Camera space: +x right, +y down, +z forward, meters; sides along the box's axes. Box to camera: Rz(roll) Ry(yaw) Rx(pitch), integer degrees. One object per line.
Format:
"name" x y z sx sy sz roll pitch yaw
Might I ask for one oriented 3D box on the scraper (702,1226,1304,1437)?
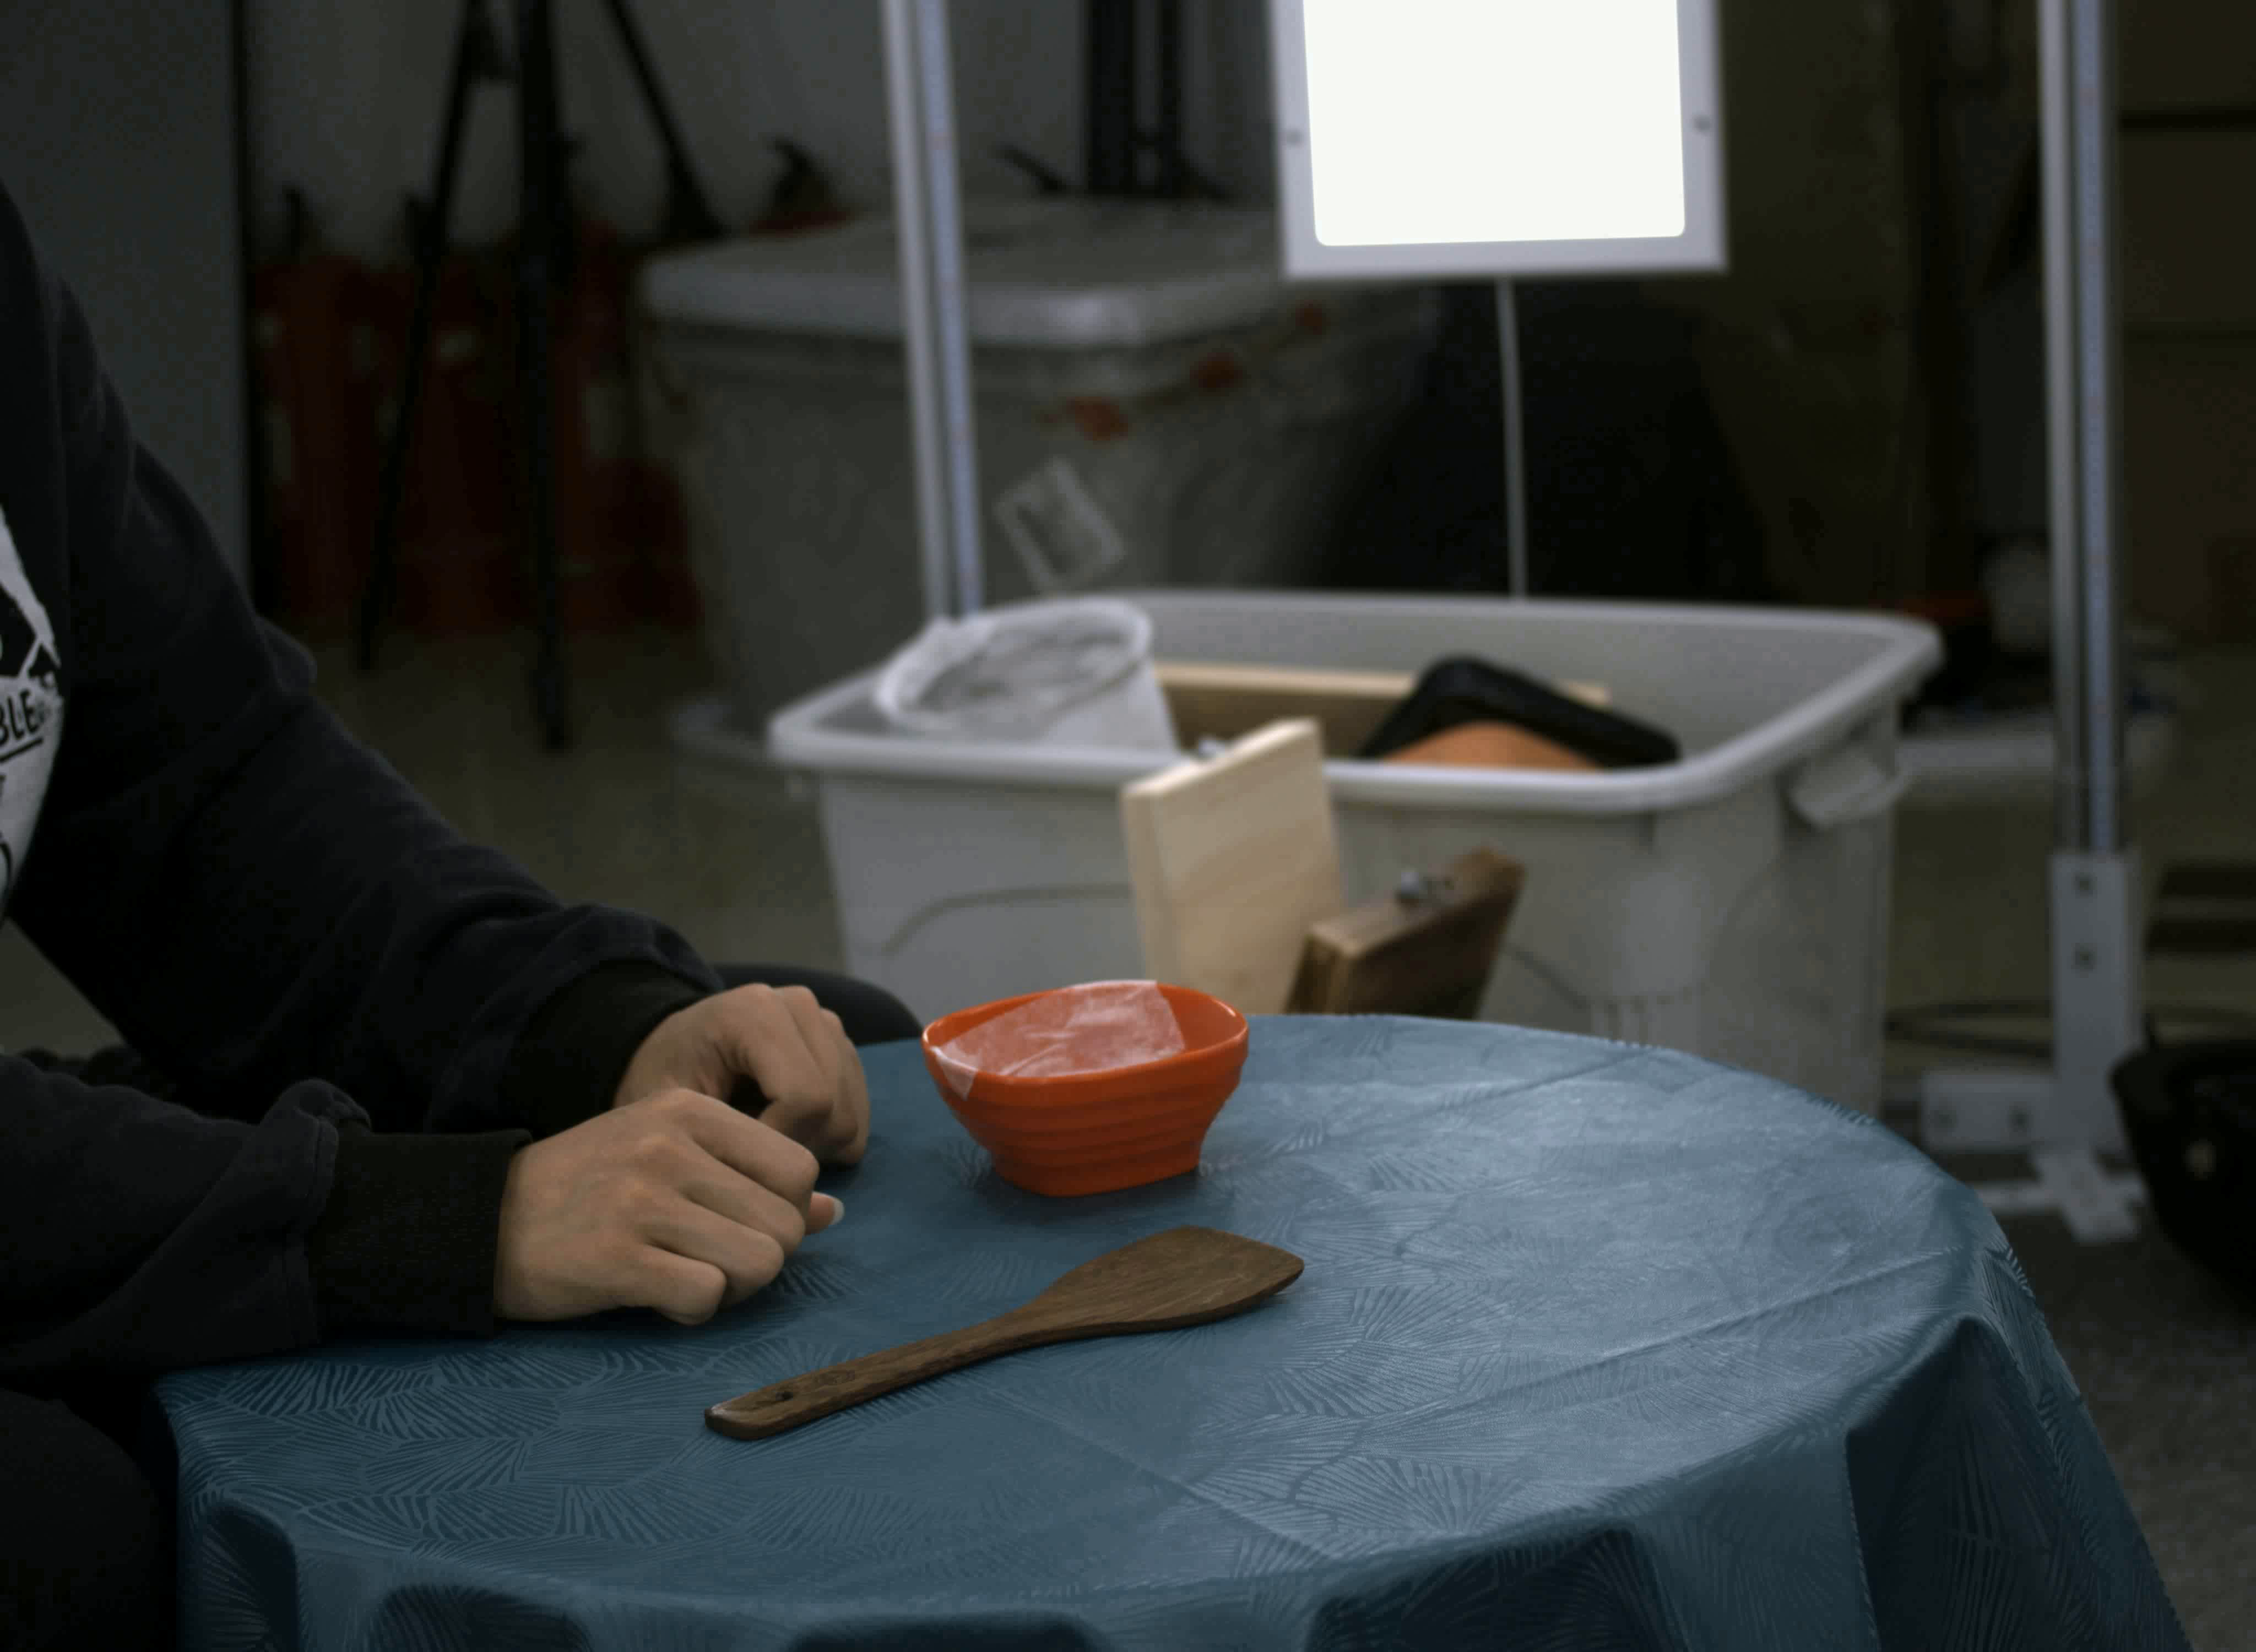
"scraper" -0.042 0.162 1.750 0.206 0.011 0.077 -15 15 -32

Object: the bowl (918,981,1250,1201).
"bowl" -0.014 0.095 1.928 0.118 0.051 0.119 -4 15 0
